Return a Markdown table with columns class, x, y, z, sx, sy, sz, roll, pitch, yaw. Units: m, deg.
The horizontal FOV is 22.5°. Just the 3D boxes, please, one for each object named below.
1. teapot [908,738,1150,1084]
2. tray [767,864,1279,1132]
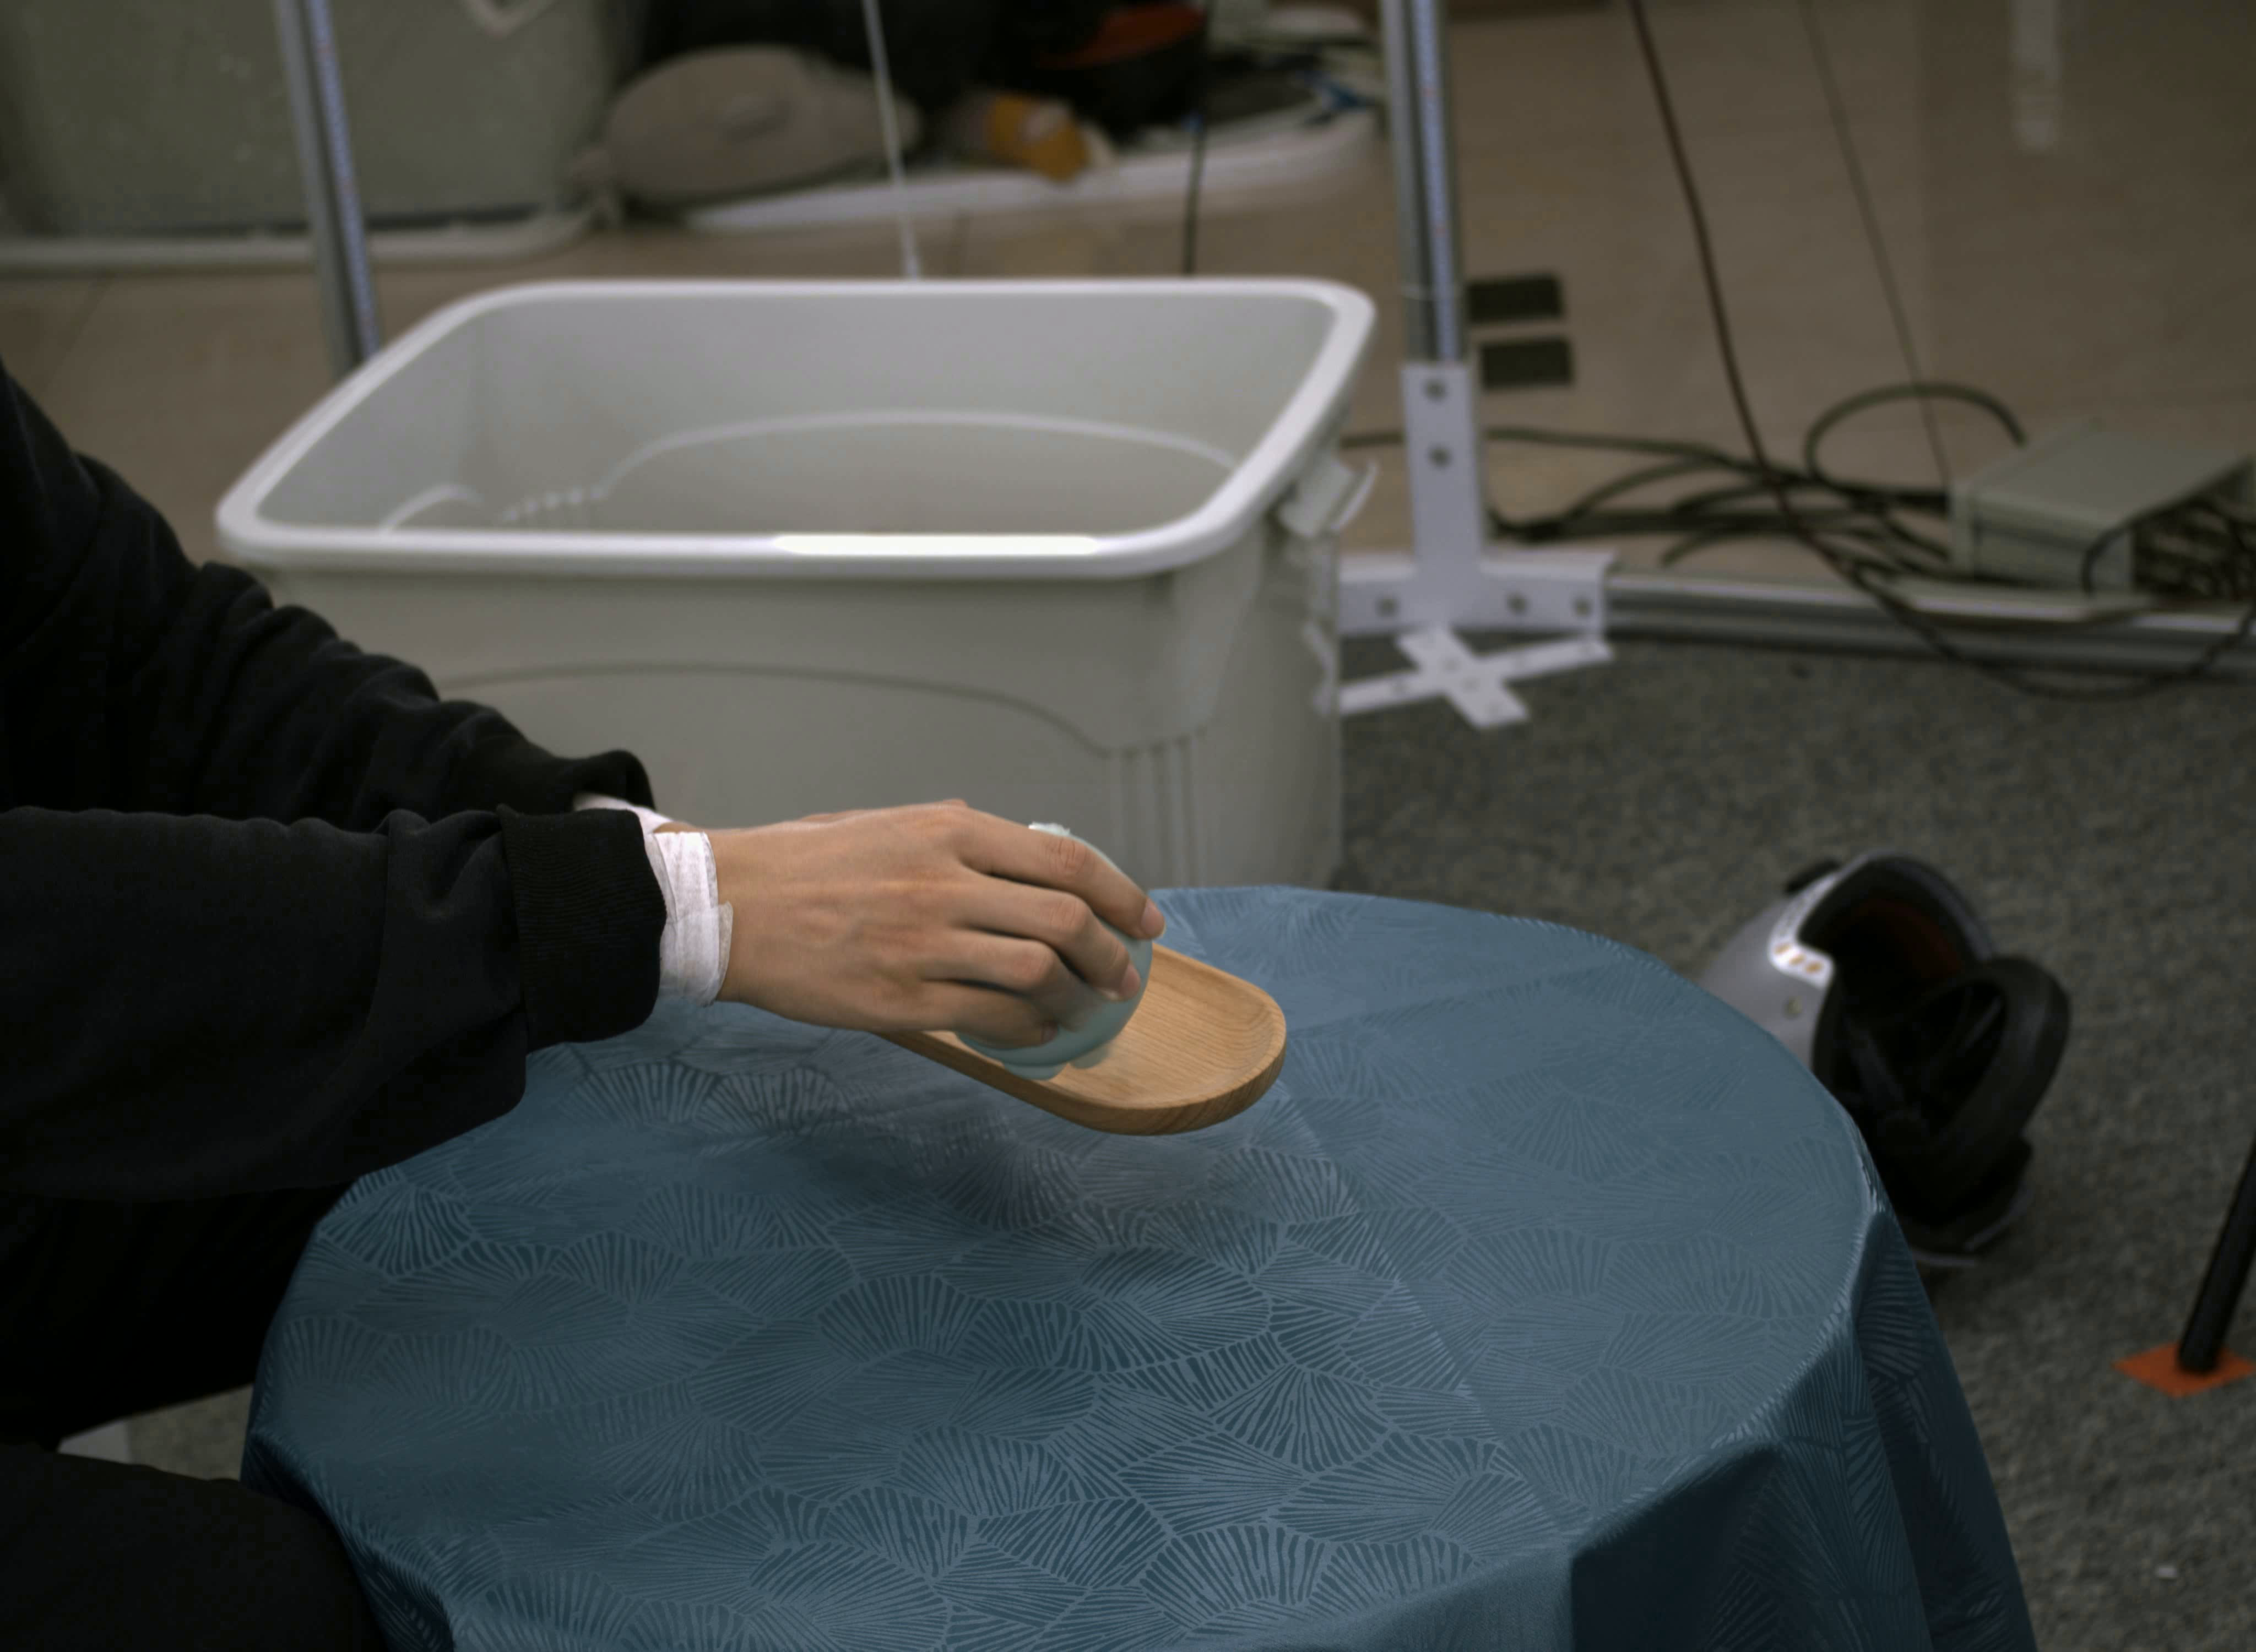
| class | x | y | z | sx | sy | sz | roll | pitch | yaw |
| --- | --- | --- | --- | --- | --- | --- | --- | --- | --- |
| teapot | -0.035 | 0.044 | 2.039 | 0.088 | 0.146 | 0.074 | 10 | 34 | 24 |
| tray | -0.041 | 0.065 | 2.163 | 0.229 | 0.020 | 0.101 | 21 | 37 | 38 |
